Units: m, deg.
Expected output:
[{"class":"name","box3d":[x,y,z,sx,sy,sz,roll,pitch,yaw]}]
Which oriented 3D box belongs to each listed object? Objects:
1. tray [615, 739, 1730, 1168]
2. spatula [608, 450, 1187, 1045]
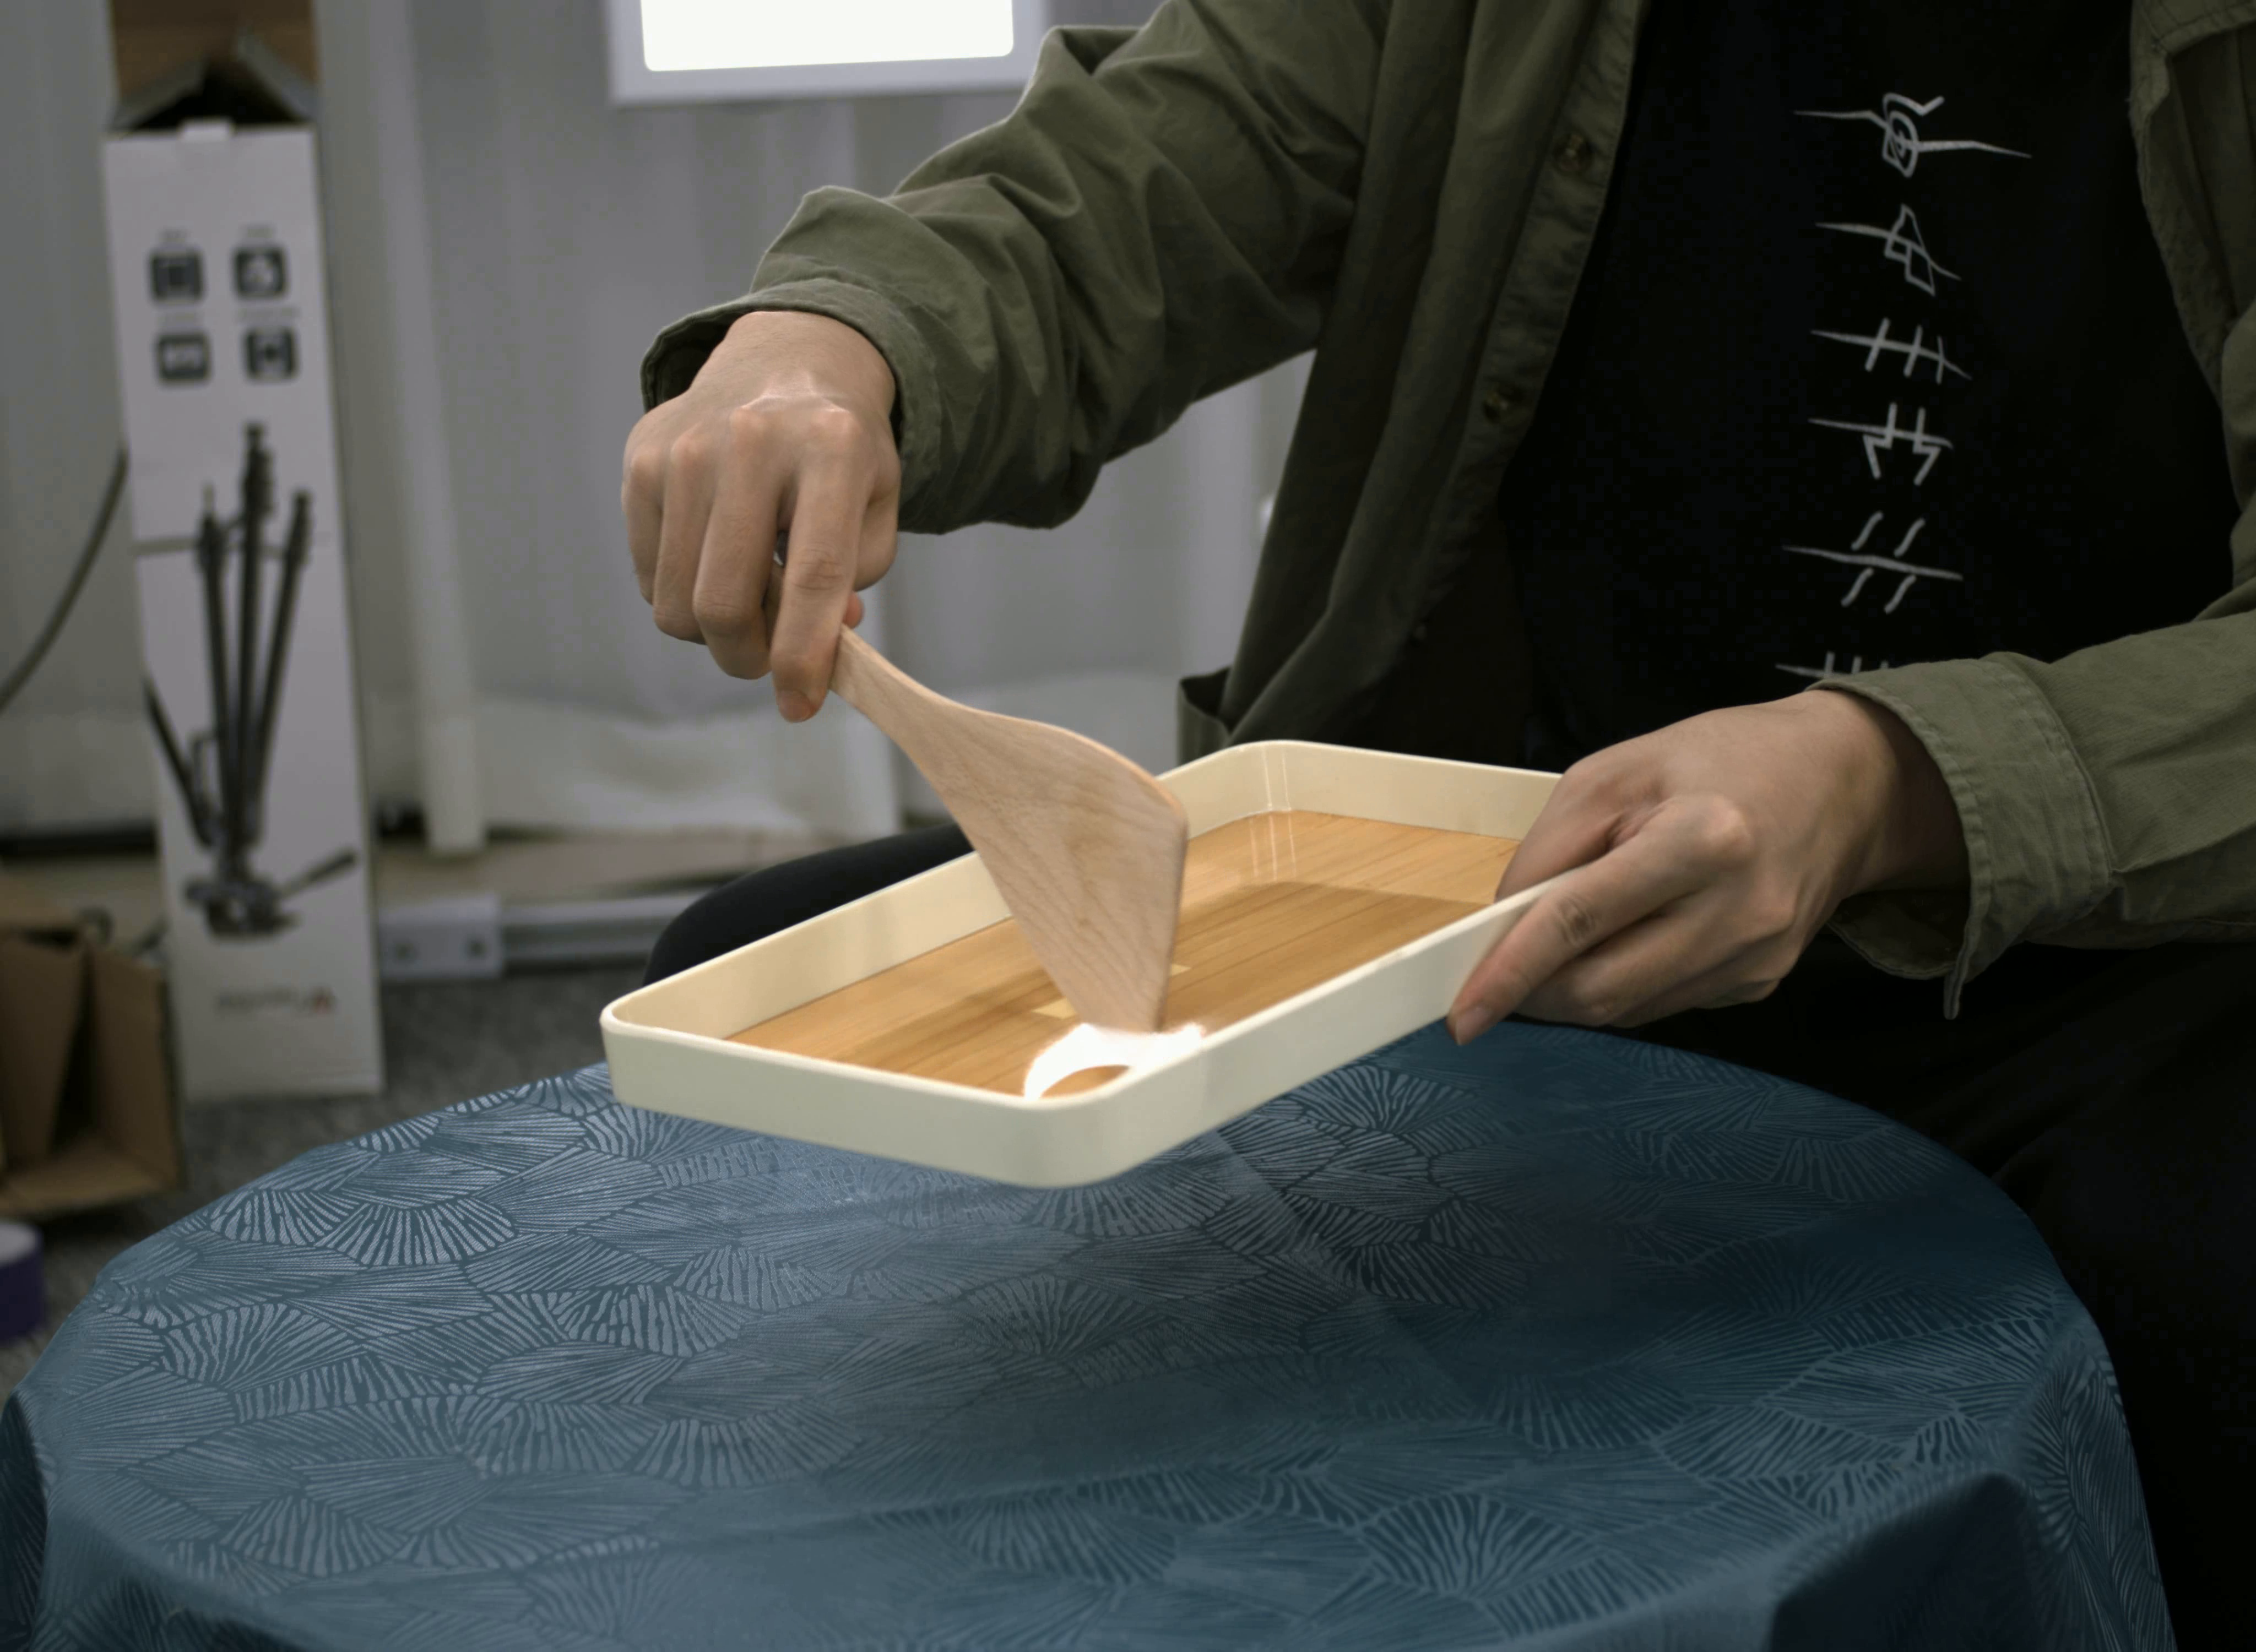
[{"class":"tray","box3d":[0.018,0.032,1.588,0.192,0.027,0.300,9,21,42]},{"class":"spatula","box3d":[-0.073,-0.039,1.602,0.016,0.079,0.331,-4,28,-36]}]
